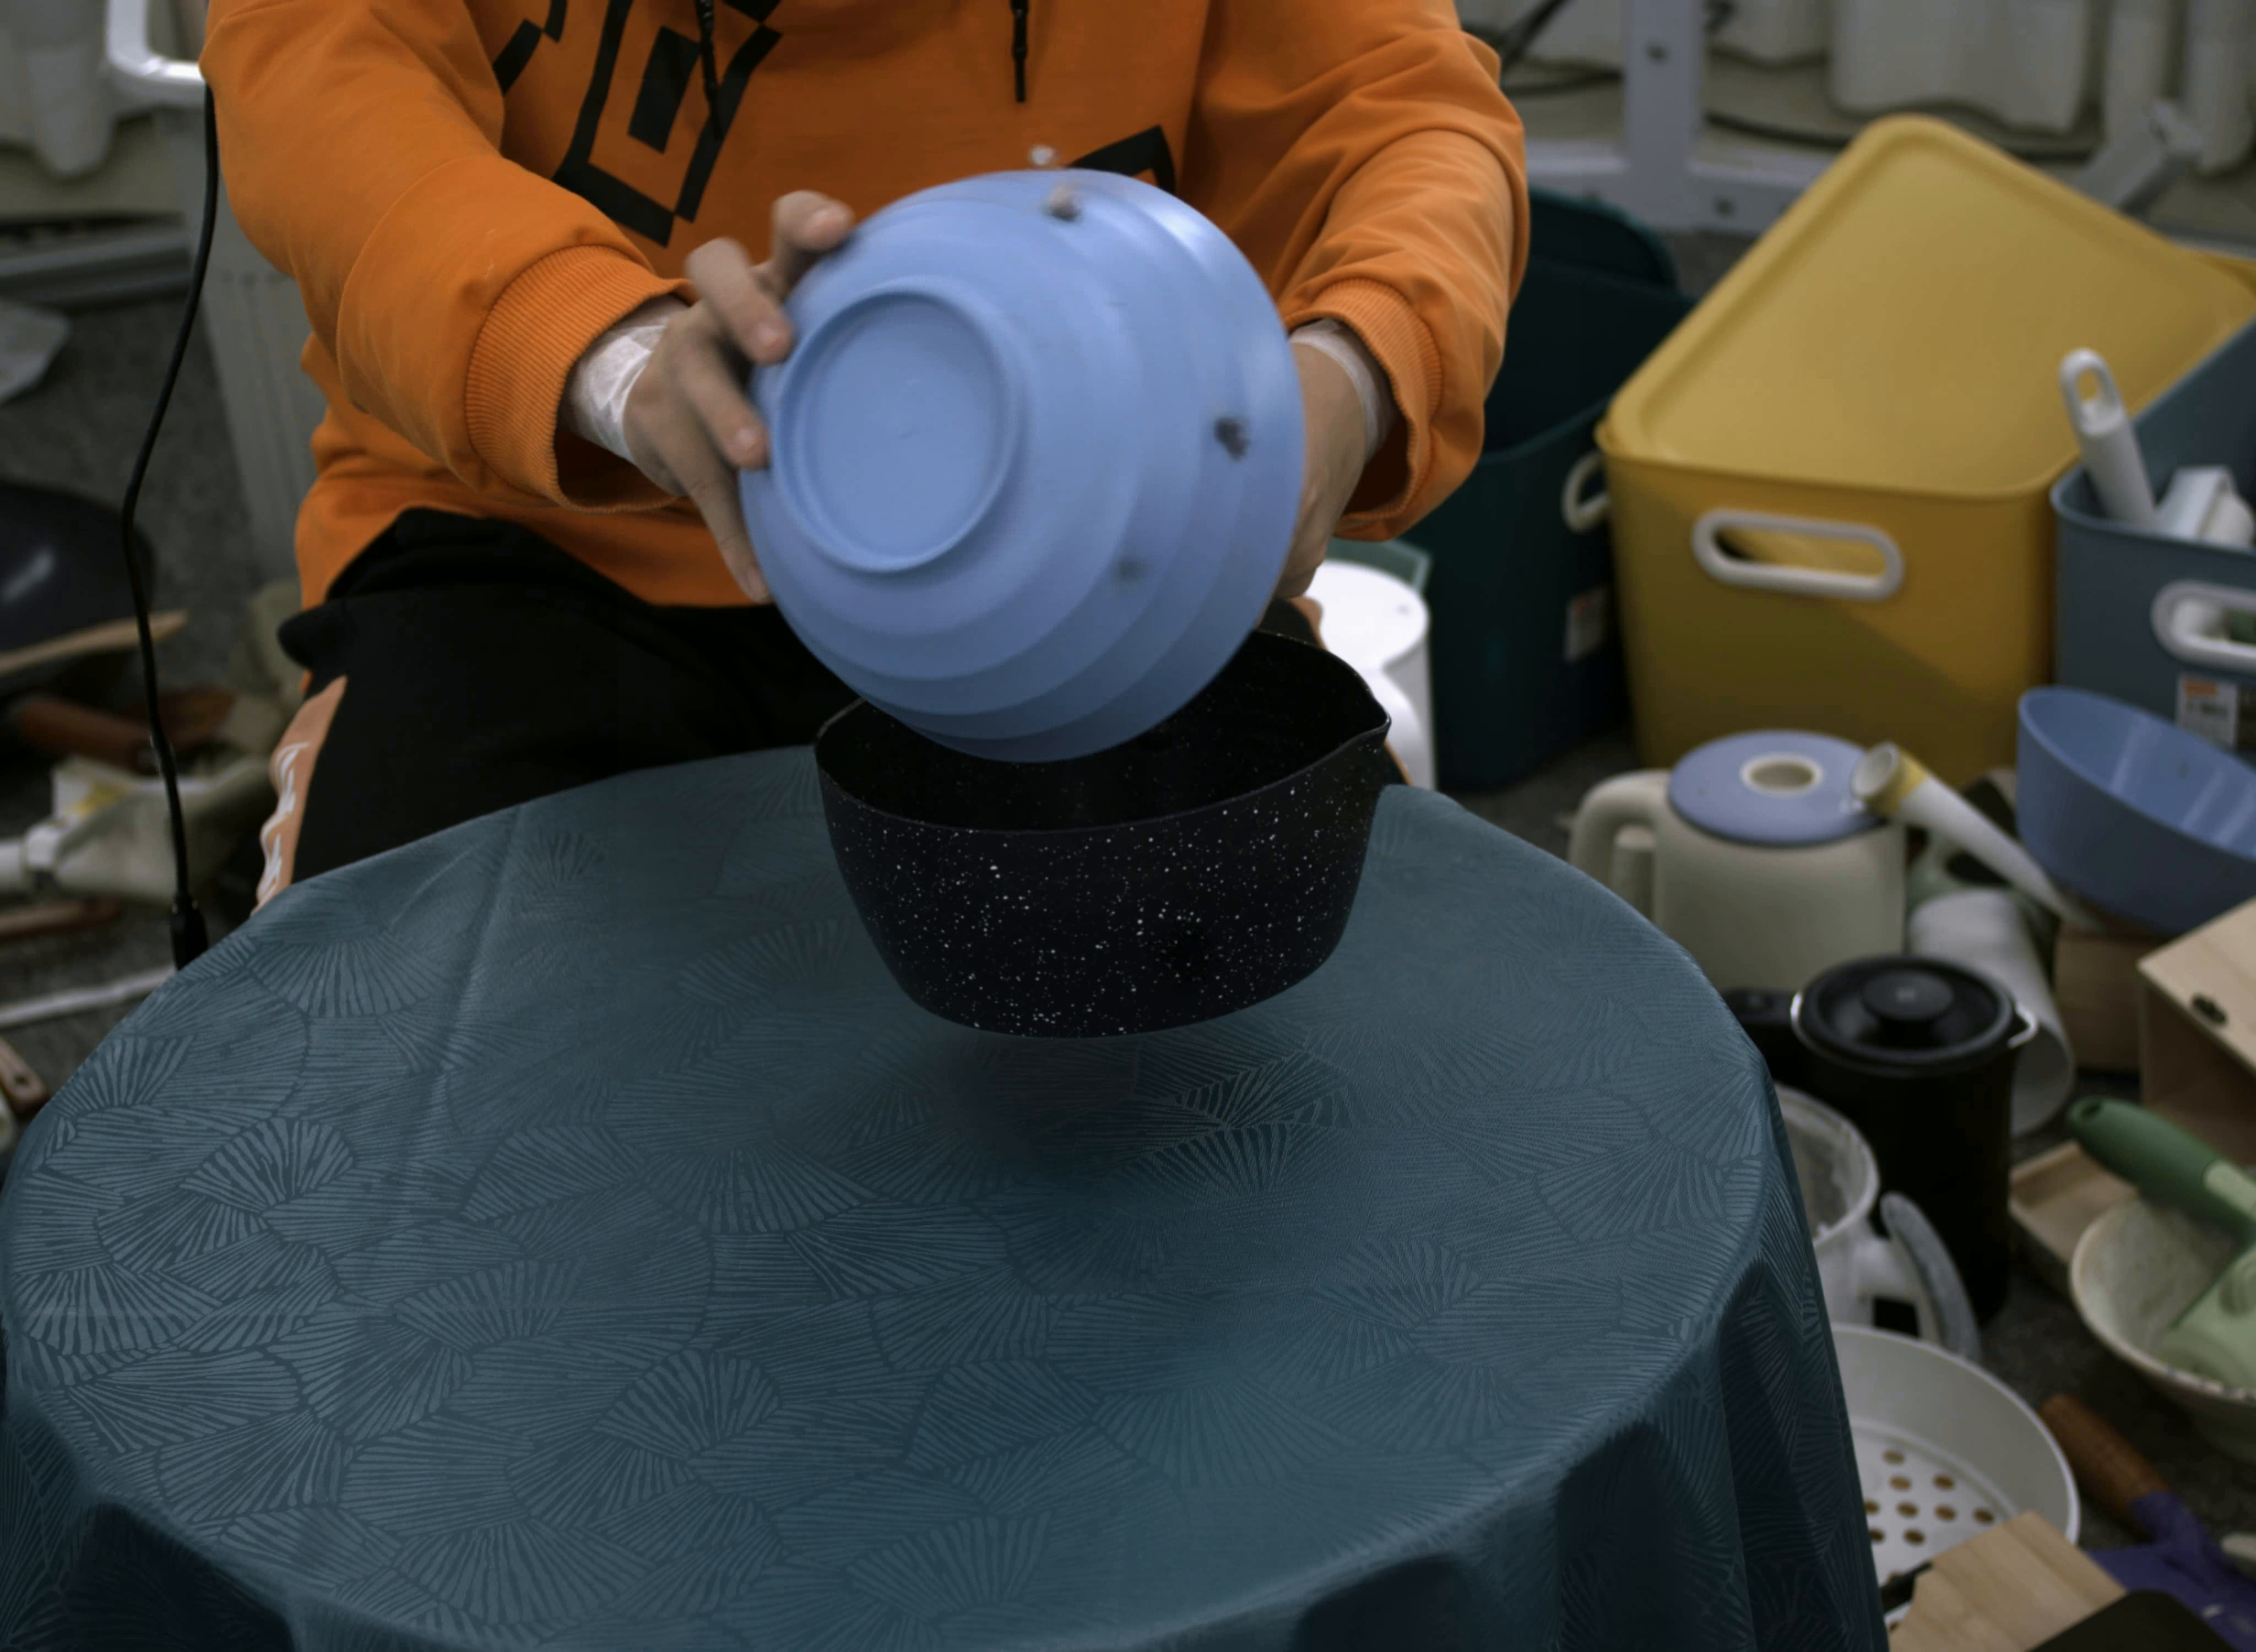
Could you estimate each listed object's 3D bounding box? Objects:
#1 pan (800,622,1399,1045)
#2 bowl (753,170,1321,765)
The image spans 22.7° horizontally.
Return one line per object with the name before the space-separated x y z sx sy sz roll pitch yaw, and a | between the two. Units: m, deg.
pan | 0.005 -0.038 1.947 0.206 0.107 0.348 -3 23 12
bowl | -0.046 -0.123 1.809 0.195 0.197 0.095 14 -2 29
